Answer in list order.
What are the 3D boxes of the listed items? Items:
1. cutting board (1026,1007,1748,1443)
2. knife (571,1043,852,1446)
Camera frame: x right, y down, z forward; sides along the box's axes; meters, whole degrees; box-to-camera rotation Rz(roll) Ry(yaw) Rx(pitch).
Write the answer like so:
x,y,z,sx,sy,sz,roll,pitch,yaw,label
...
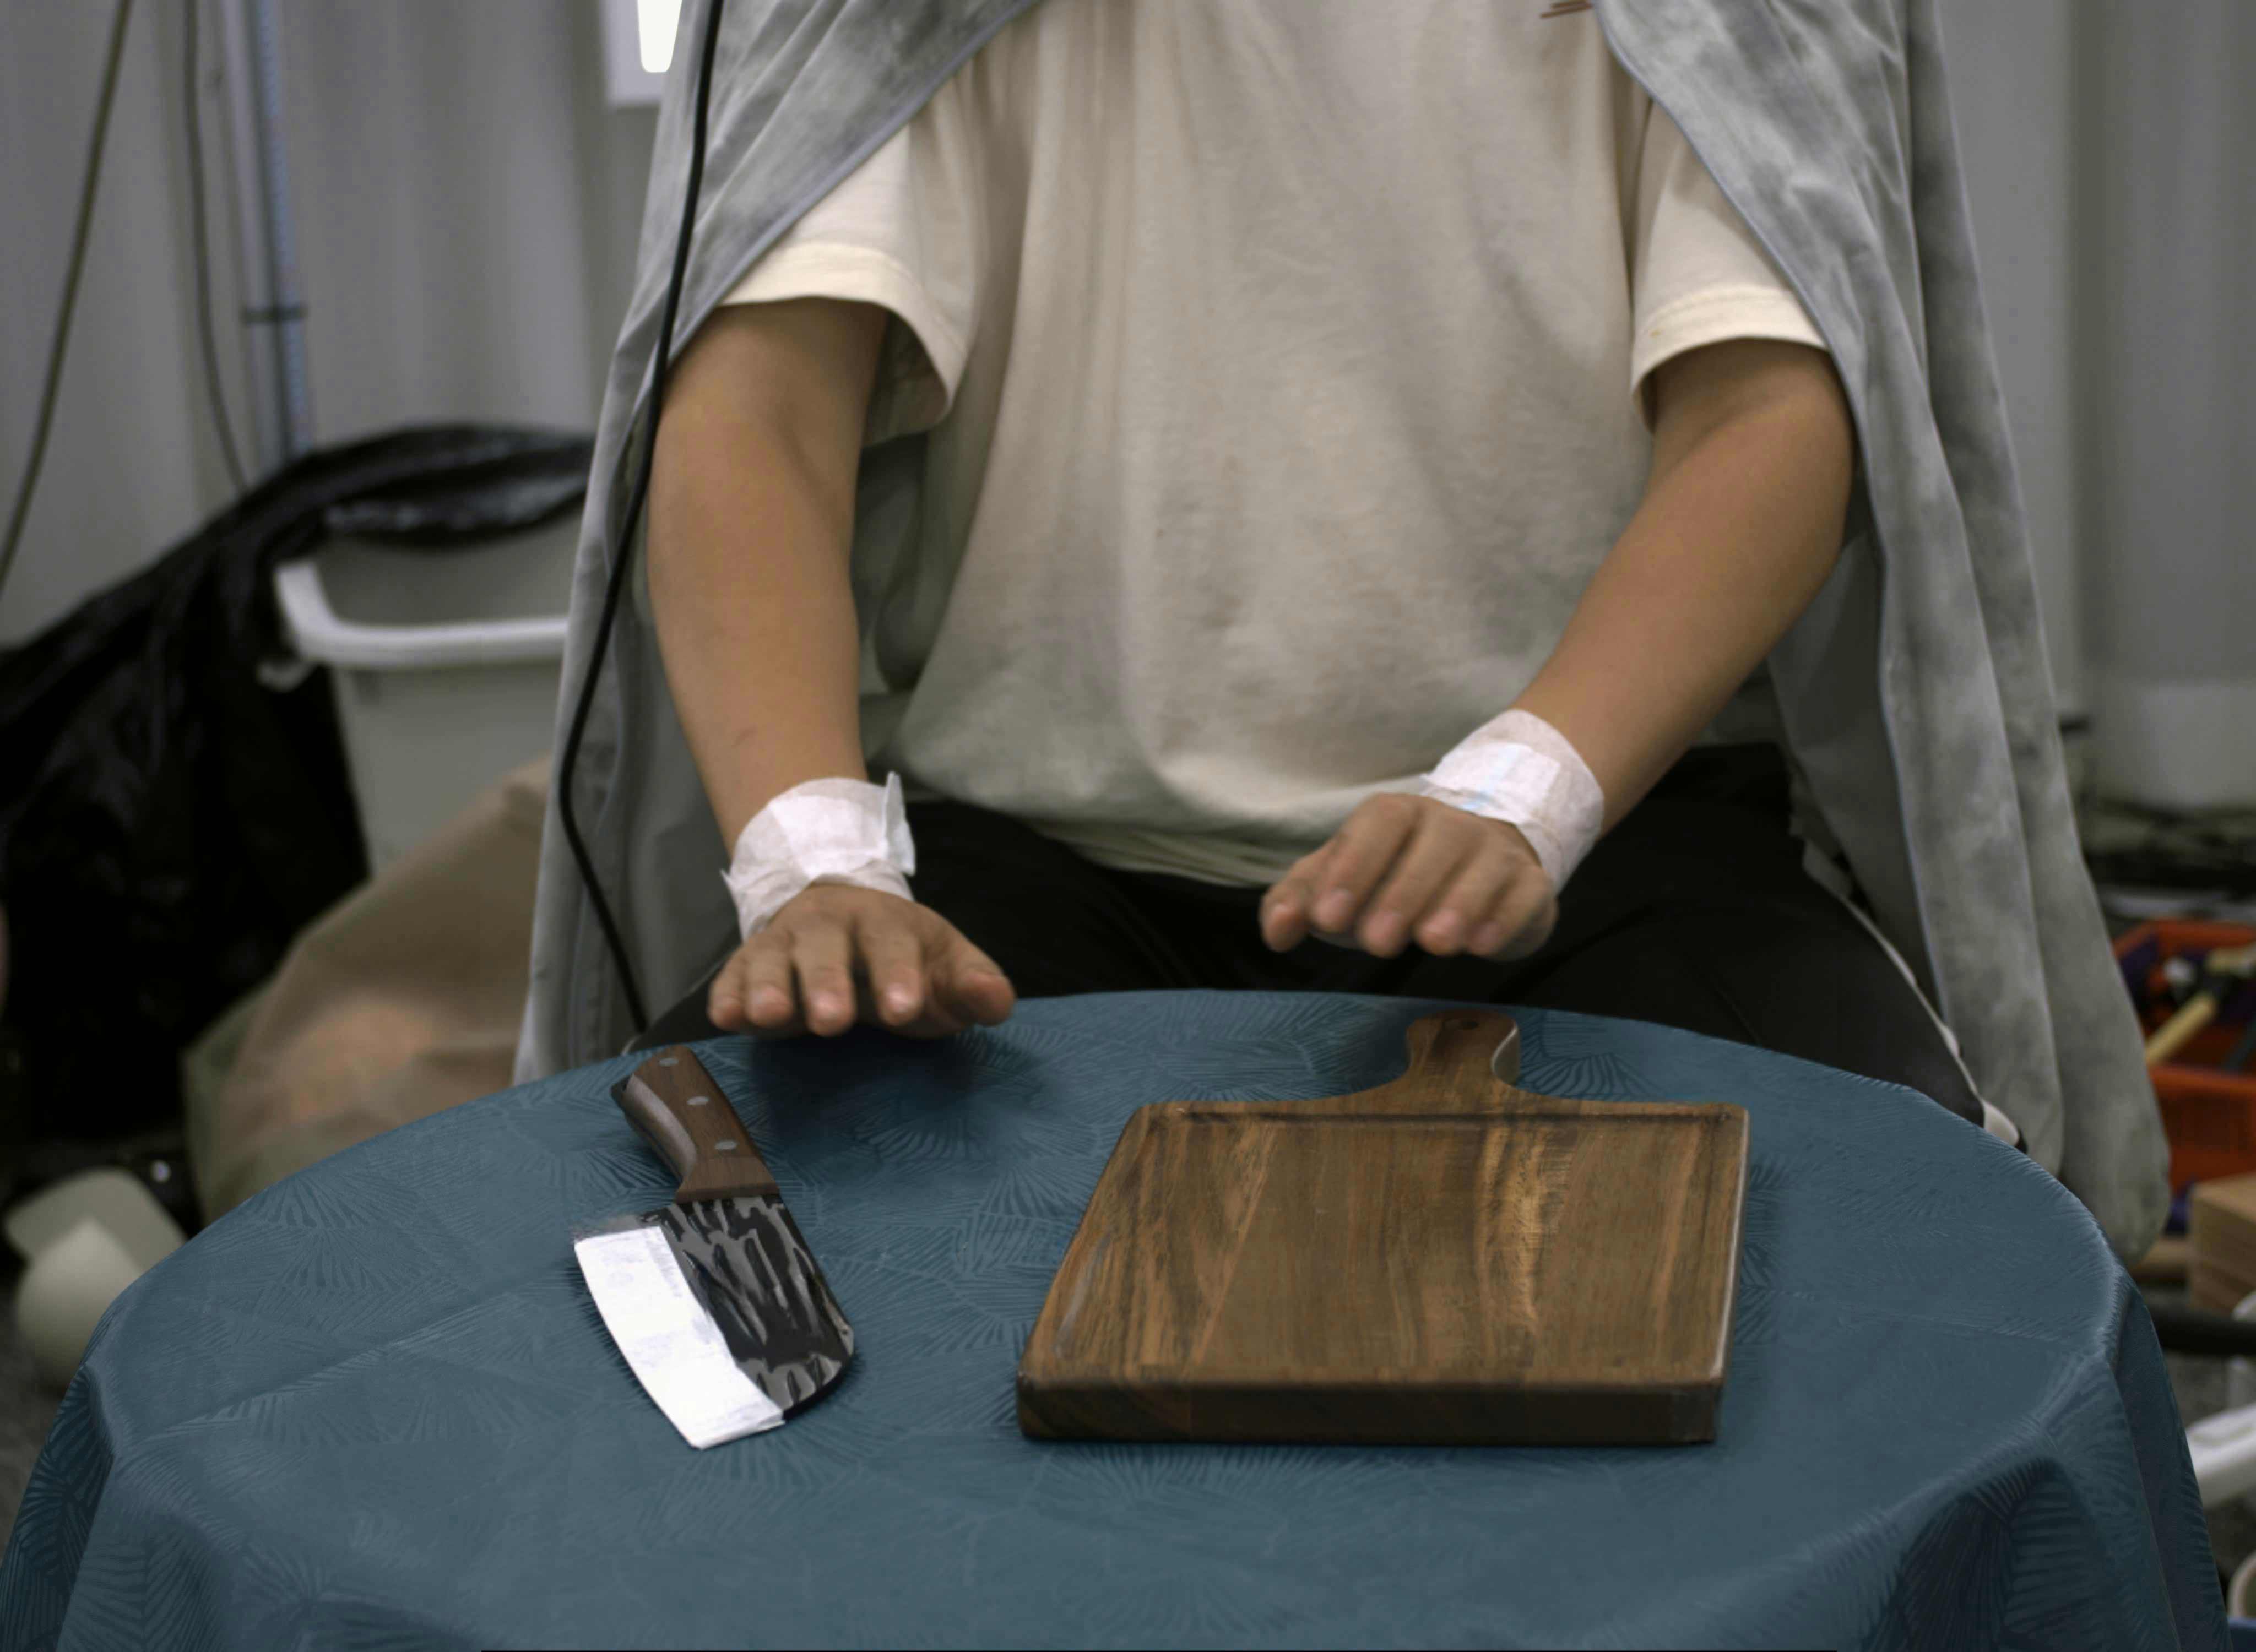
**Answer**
x,y,z,sx,sy,sz,roll,pitch,yaw,label
0.089,0.115,1.660,0.200,0.023,0.354,-1,15,8,cutting board
-0.133,0.126,1.664,0.068,0.024,0.302,-8,18,-11,knife
